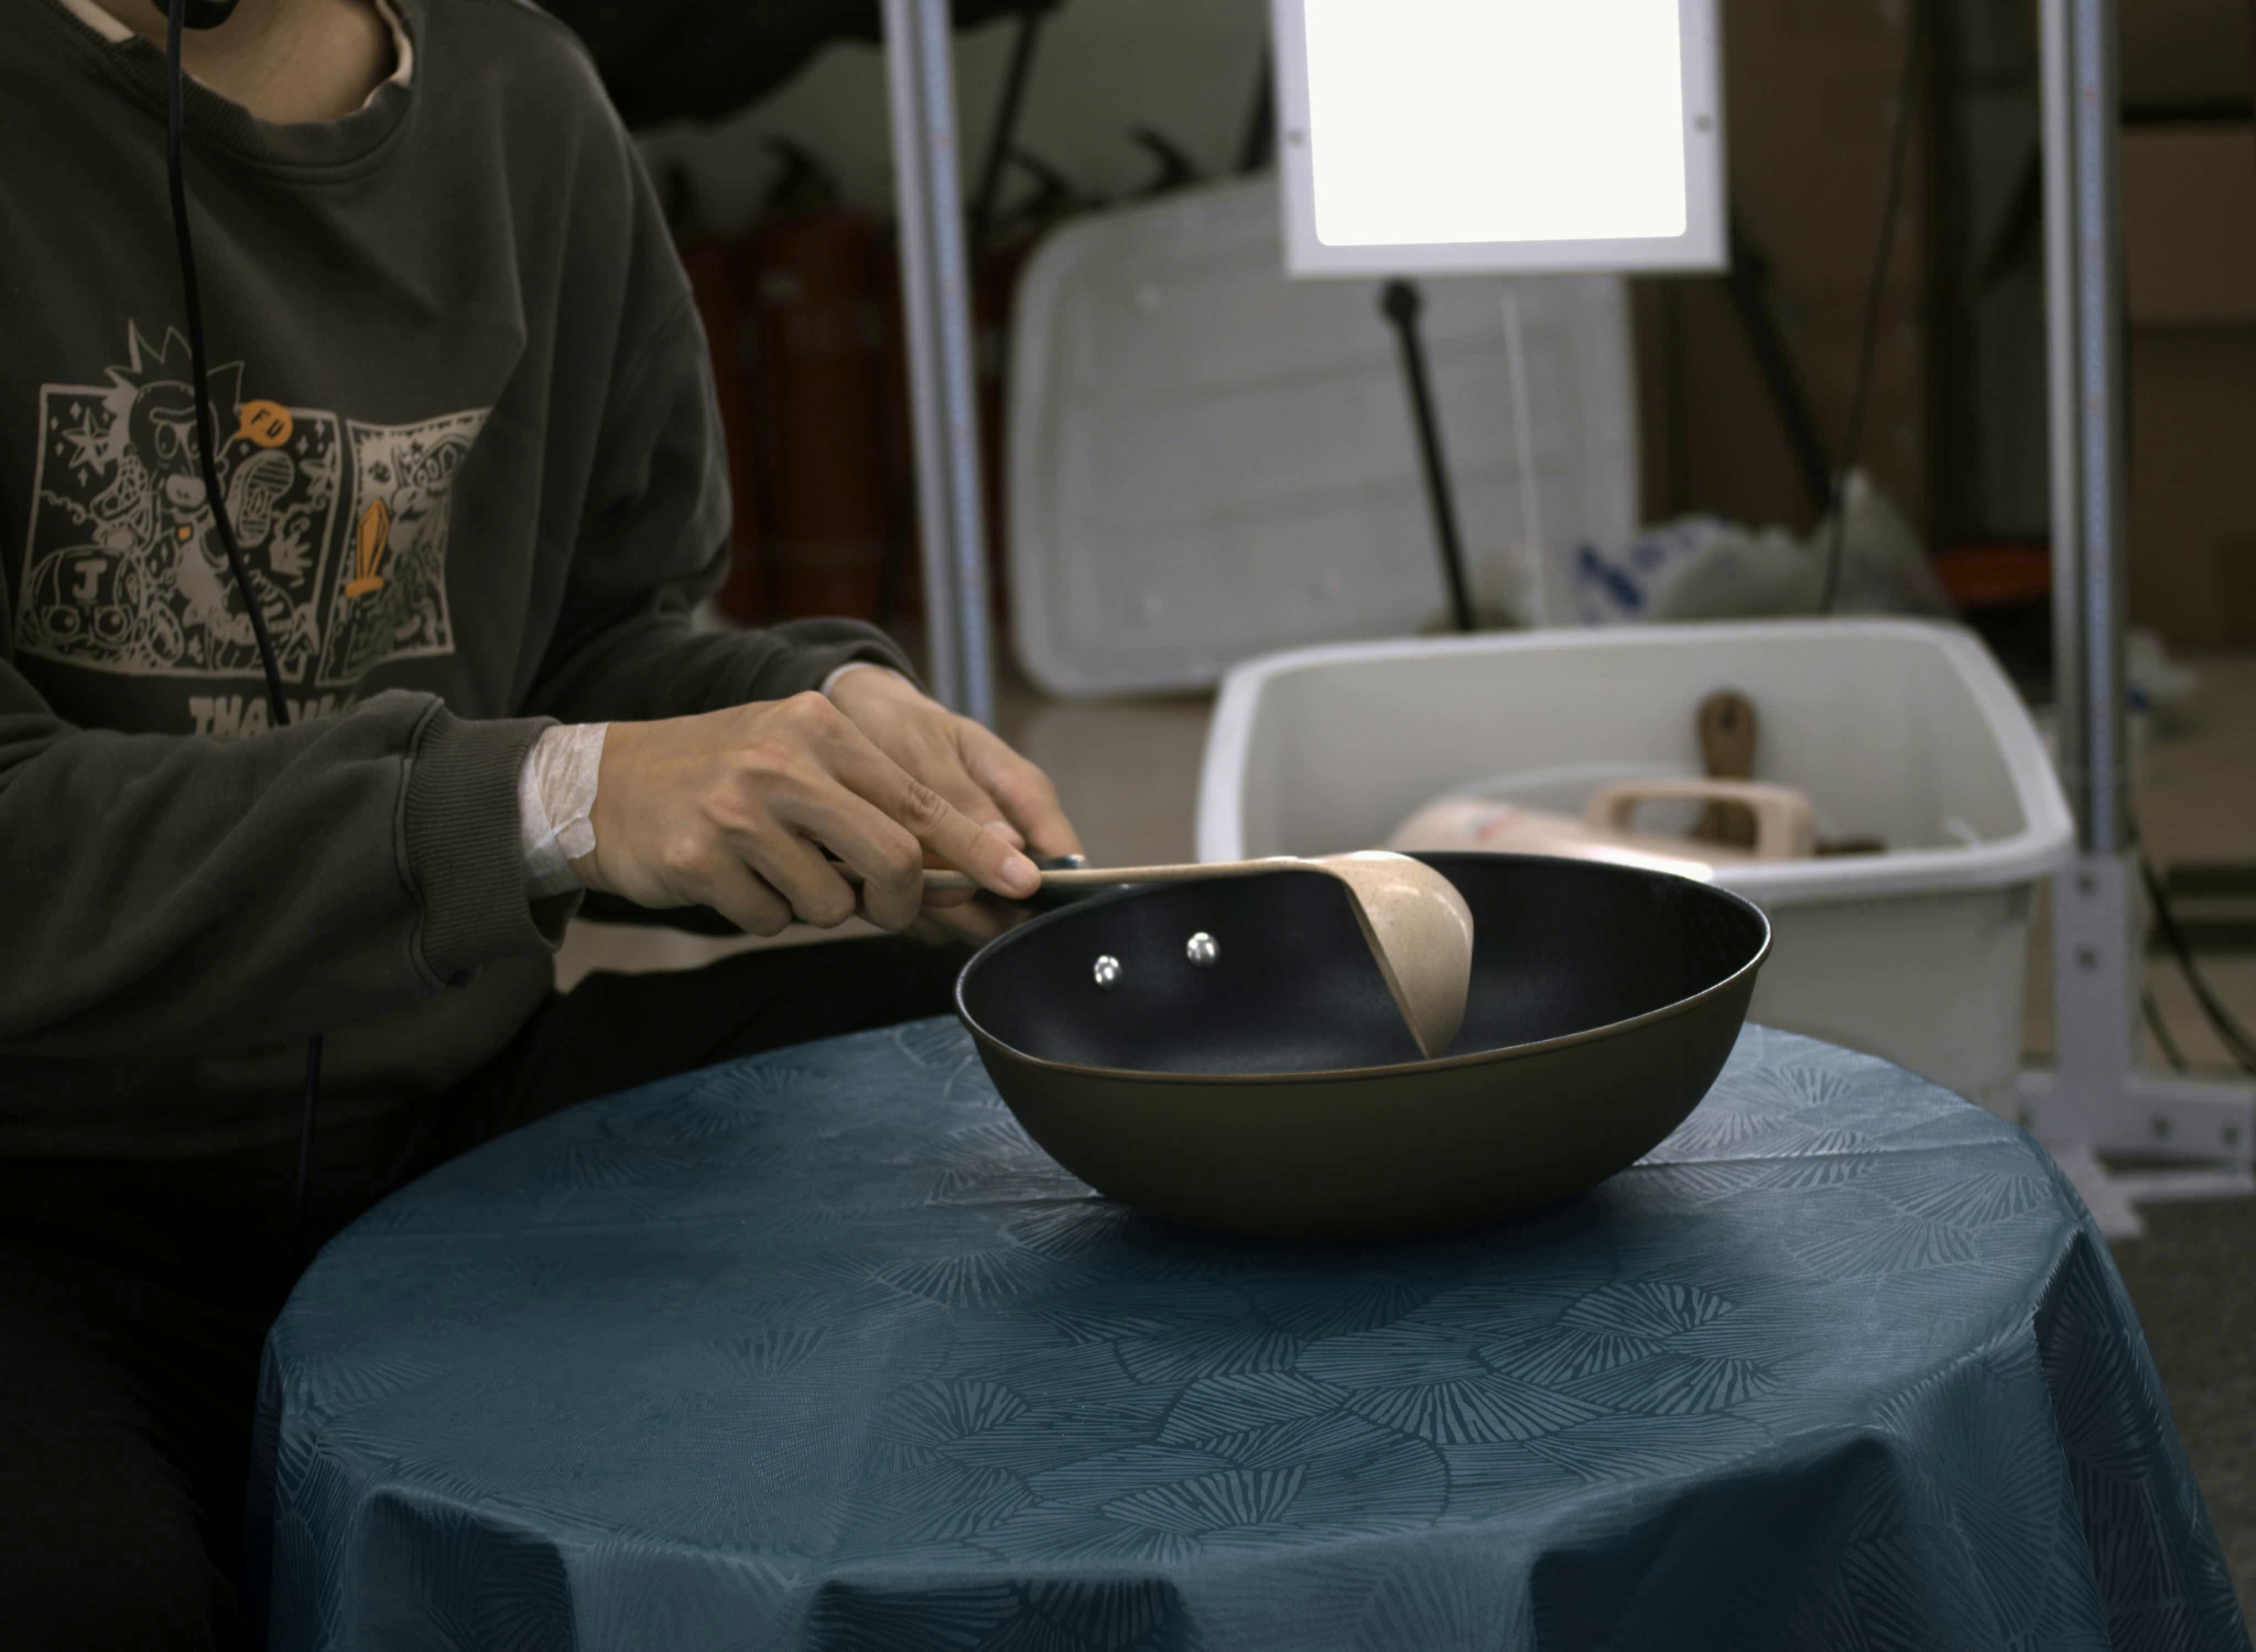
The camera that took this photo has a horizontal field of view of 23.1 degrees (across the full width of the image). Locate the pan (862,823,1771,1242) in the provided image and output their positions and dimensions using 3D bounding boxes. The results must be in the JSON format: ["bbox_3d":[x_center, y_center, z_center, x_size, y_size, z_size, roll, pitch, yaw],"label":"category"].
[{"bbox_3d":[0.030,0.068,1.953,0.281,0.087,0.472,-14,15,-31],"label":"pan"}]

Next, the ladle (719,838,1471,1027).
[{"bbox_3d":[-0.011,0.041,1.854,0.254,0.073,0.072,0,6,3],"label":"ladle"}]
